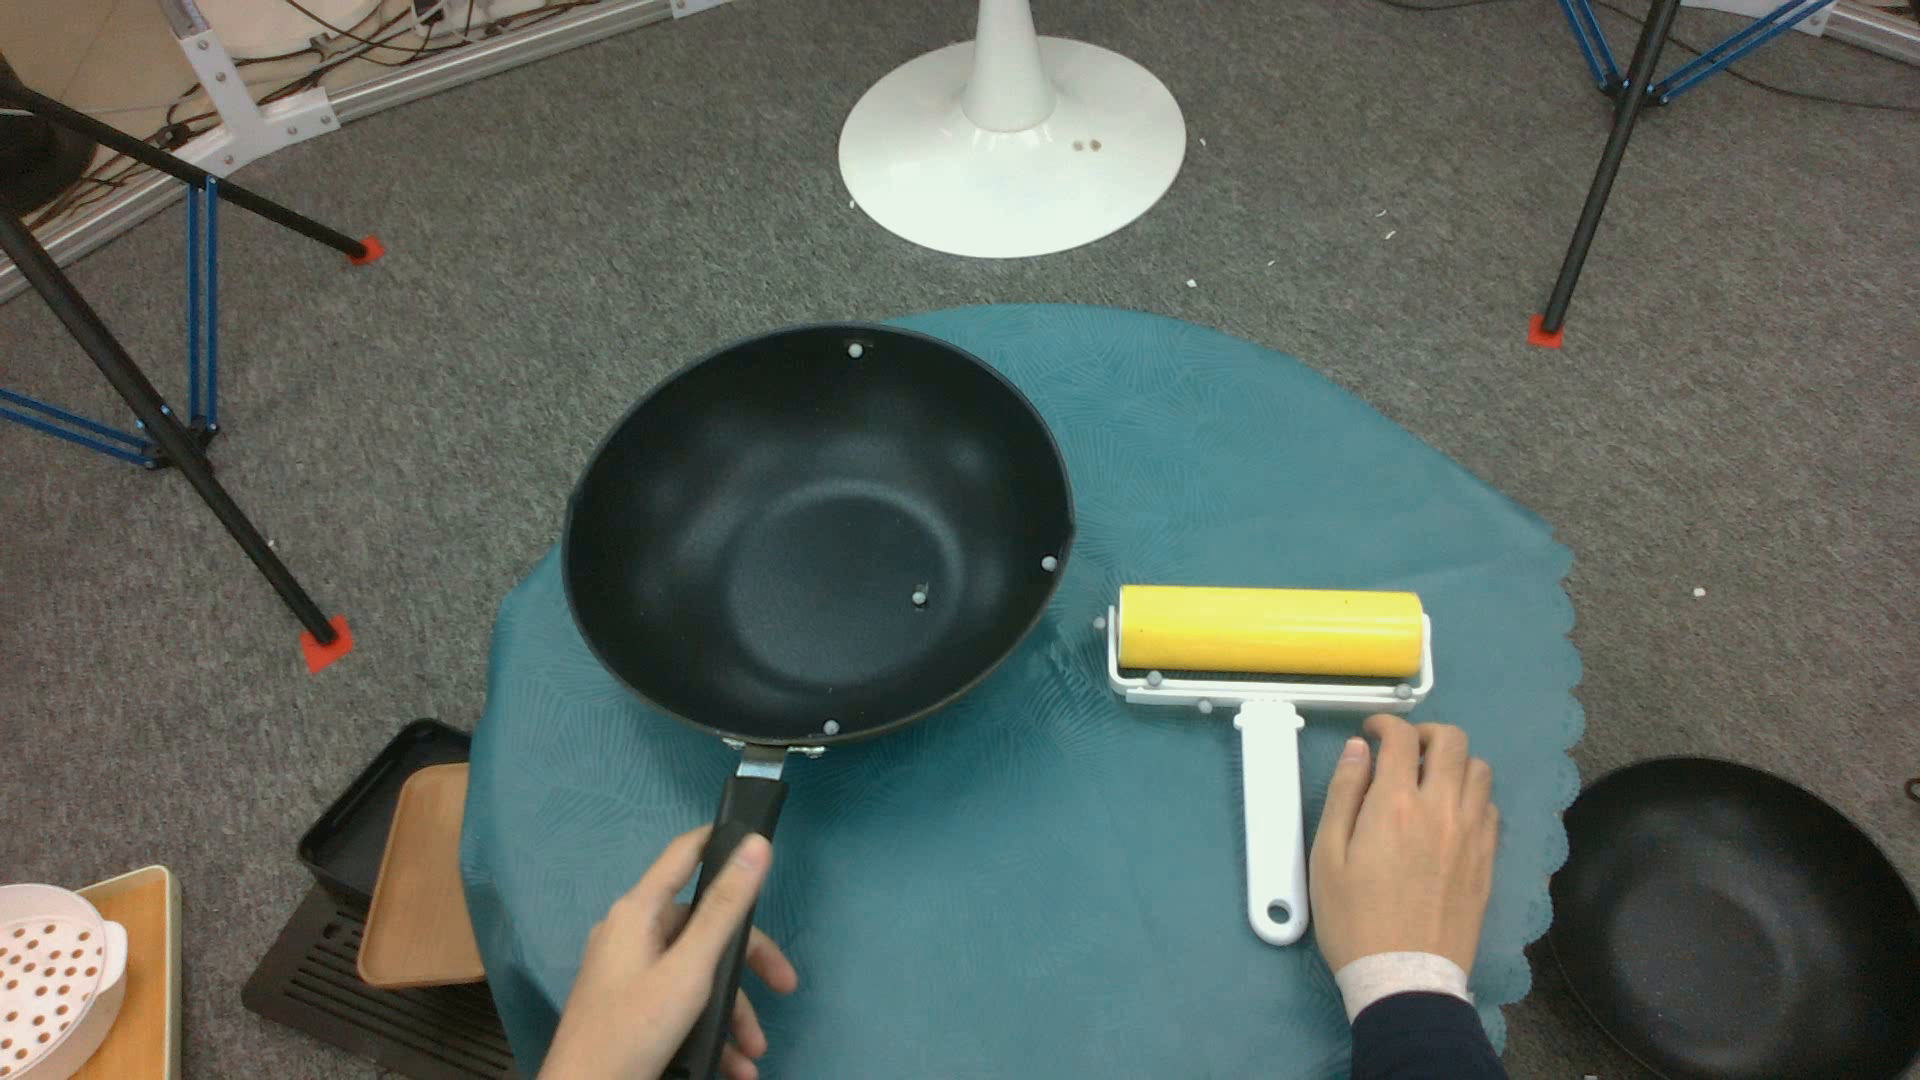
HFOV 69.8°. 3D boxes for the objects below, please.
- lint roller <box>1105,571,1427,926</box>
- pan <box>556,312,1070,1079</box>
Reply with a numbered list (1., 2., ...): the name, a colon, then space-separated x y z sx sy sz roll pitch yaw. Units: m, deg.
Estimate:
1. lint roller: 0.164 0.101 0.724 0.174 0.051 0.193 1 54 5
2. pan: -0.091 0.077 0.740 0.288 0.086 0.465 4 57 8
